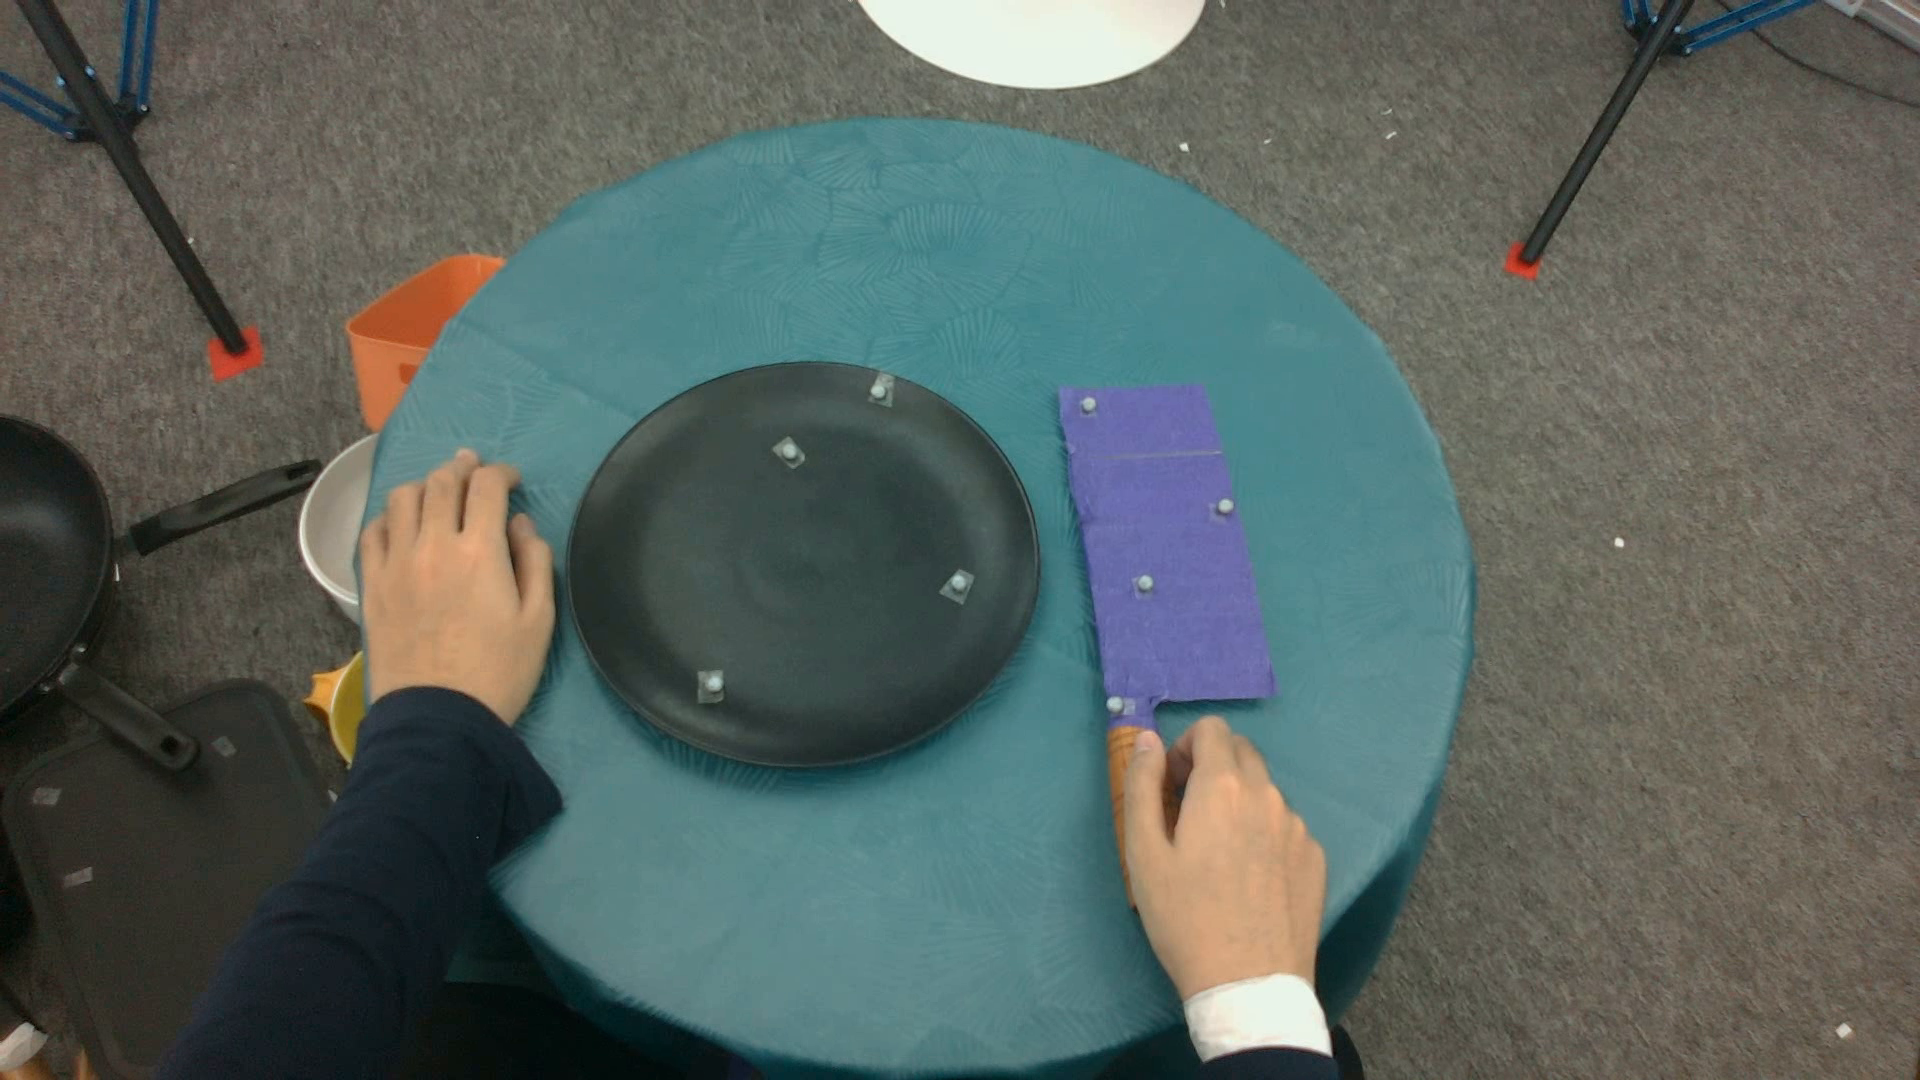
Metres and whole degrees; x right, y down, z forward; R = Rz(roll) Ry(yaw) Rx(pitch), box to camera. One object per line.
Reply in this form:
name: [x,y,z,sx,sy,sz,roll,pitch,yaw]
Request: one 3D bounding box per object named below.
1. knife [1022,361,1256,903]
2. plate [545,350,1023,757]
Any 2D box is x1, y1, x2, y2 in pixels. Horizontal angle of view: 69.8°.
knife: [0.103,0.029,0.721,0.104,0.032,0.316,-3,59,-7]
plate: [-0.089,0.003,0.718,0.244,0.023,0.245,3,59,-4]
